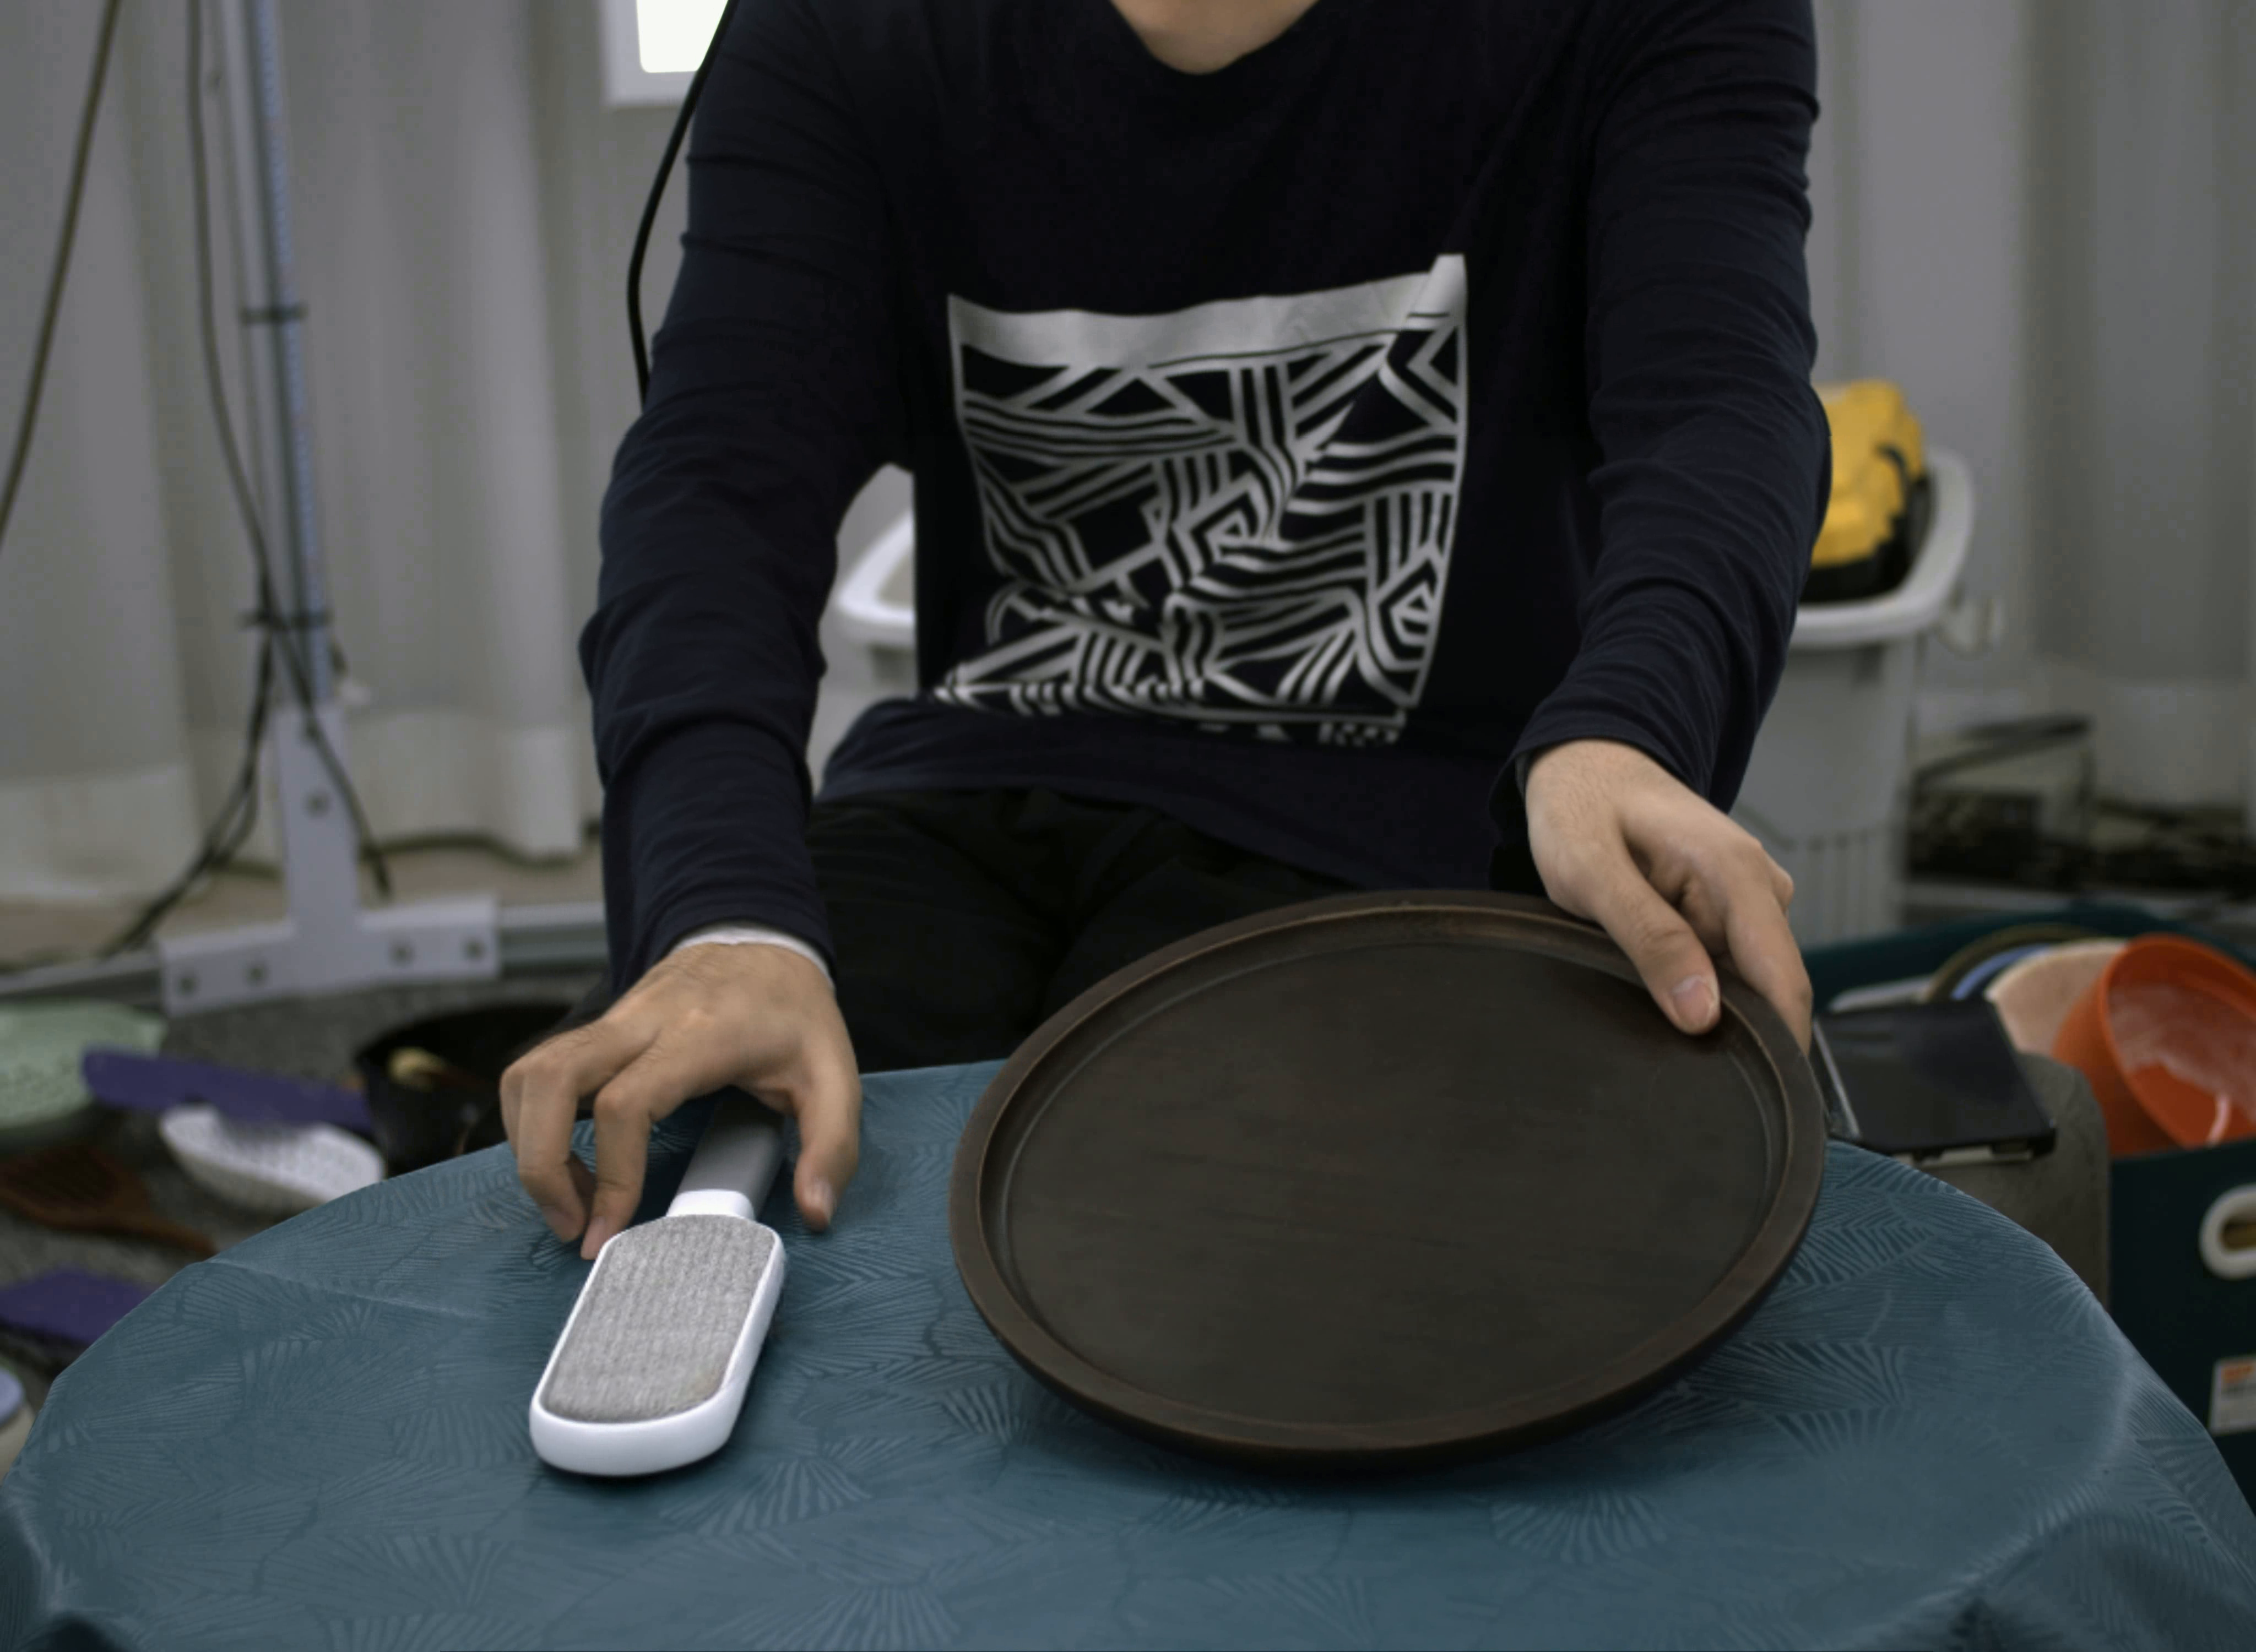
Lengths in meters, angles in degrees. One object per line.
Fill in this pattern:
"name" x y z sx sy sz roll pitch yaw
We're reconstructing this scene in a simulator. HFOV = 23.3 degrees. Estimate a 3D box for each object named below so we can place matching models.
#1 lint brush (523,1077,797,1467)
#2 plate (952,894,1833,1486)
"lint brush" -0.129 0.129 1.635 0.060 0.021 0.311 -7 14 6
"plate" 0.075 0.101 1.561 0.254 0.029 0.258 -5 35 3
